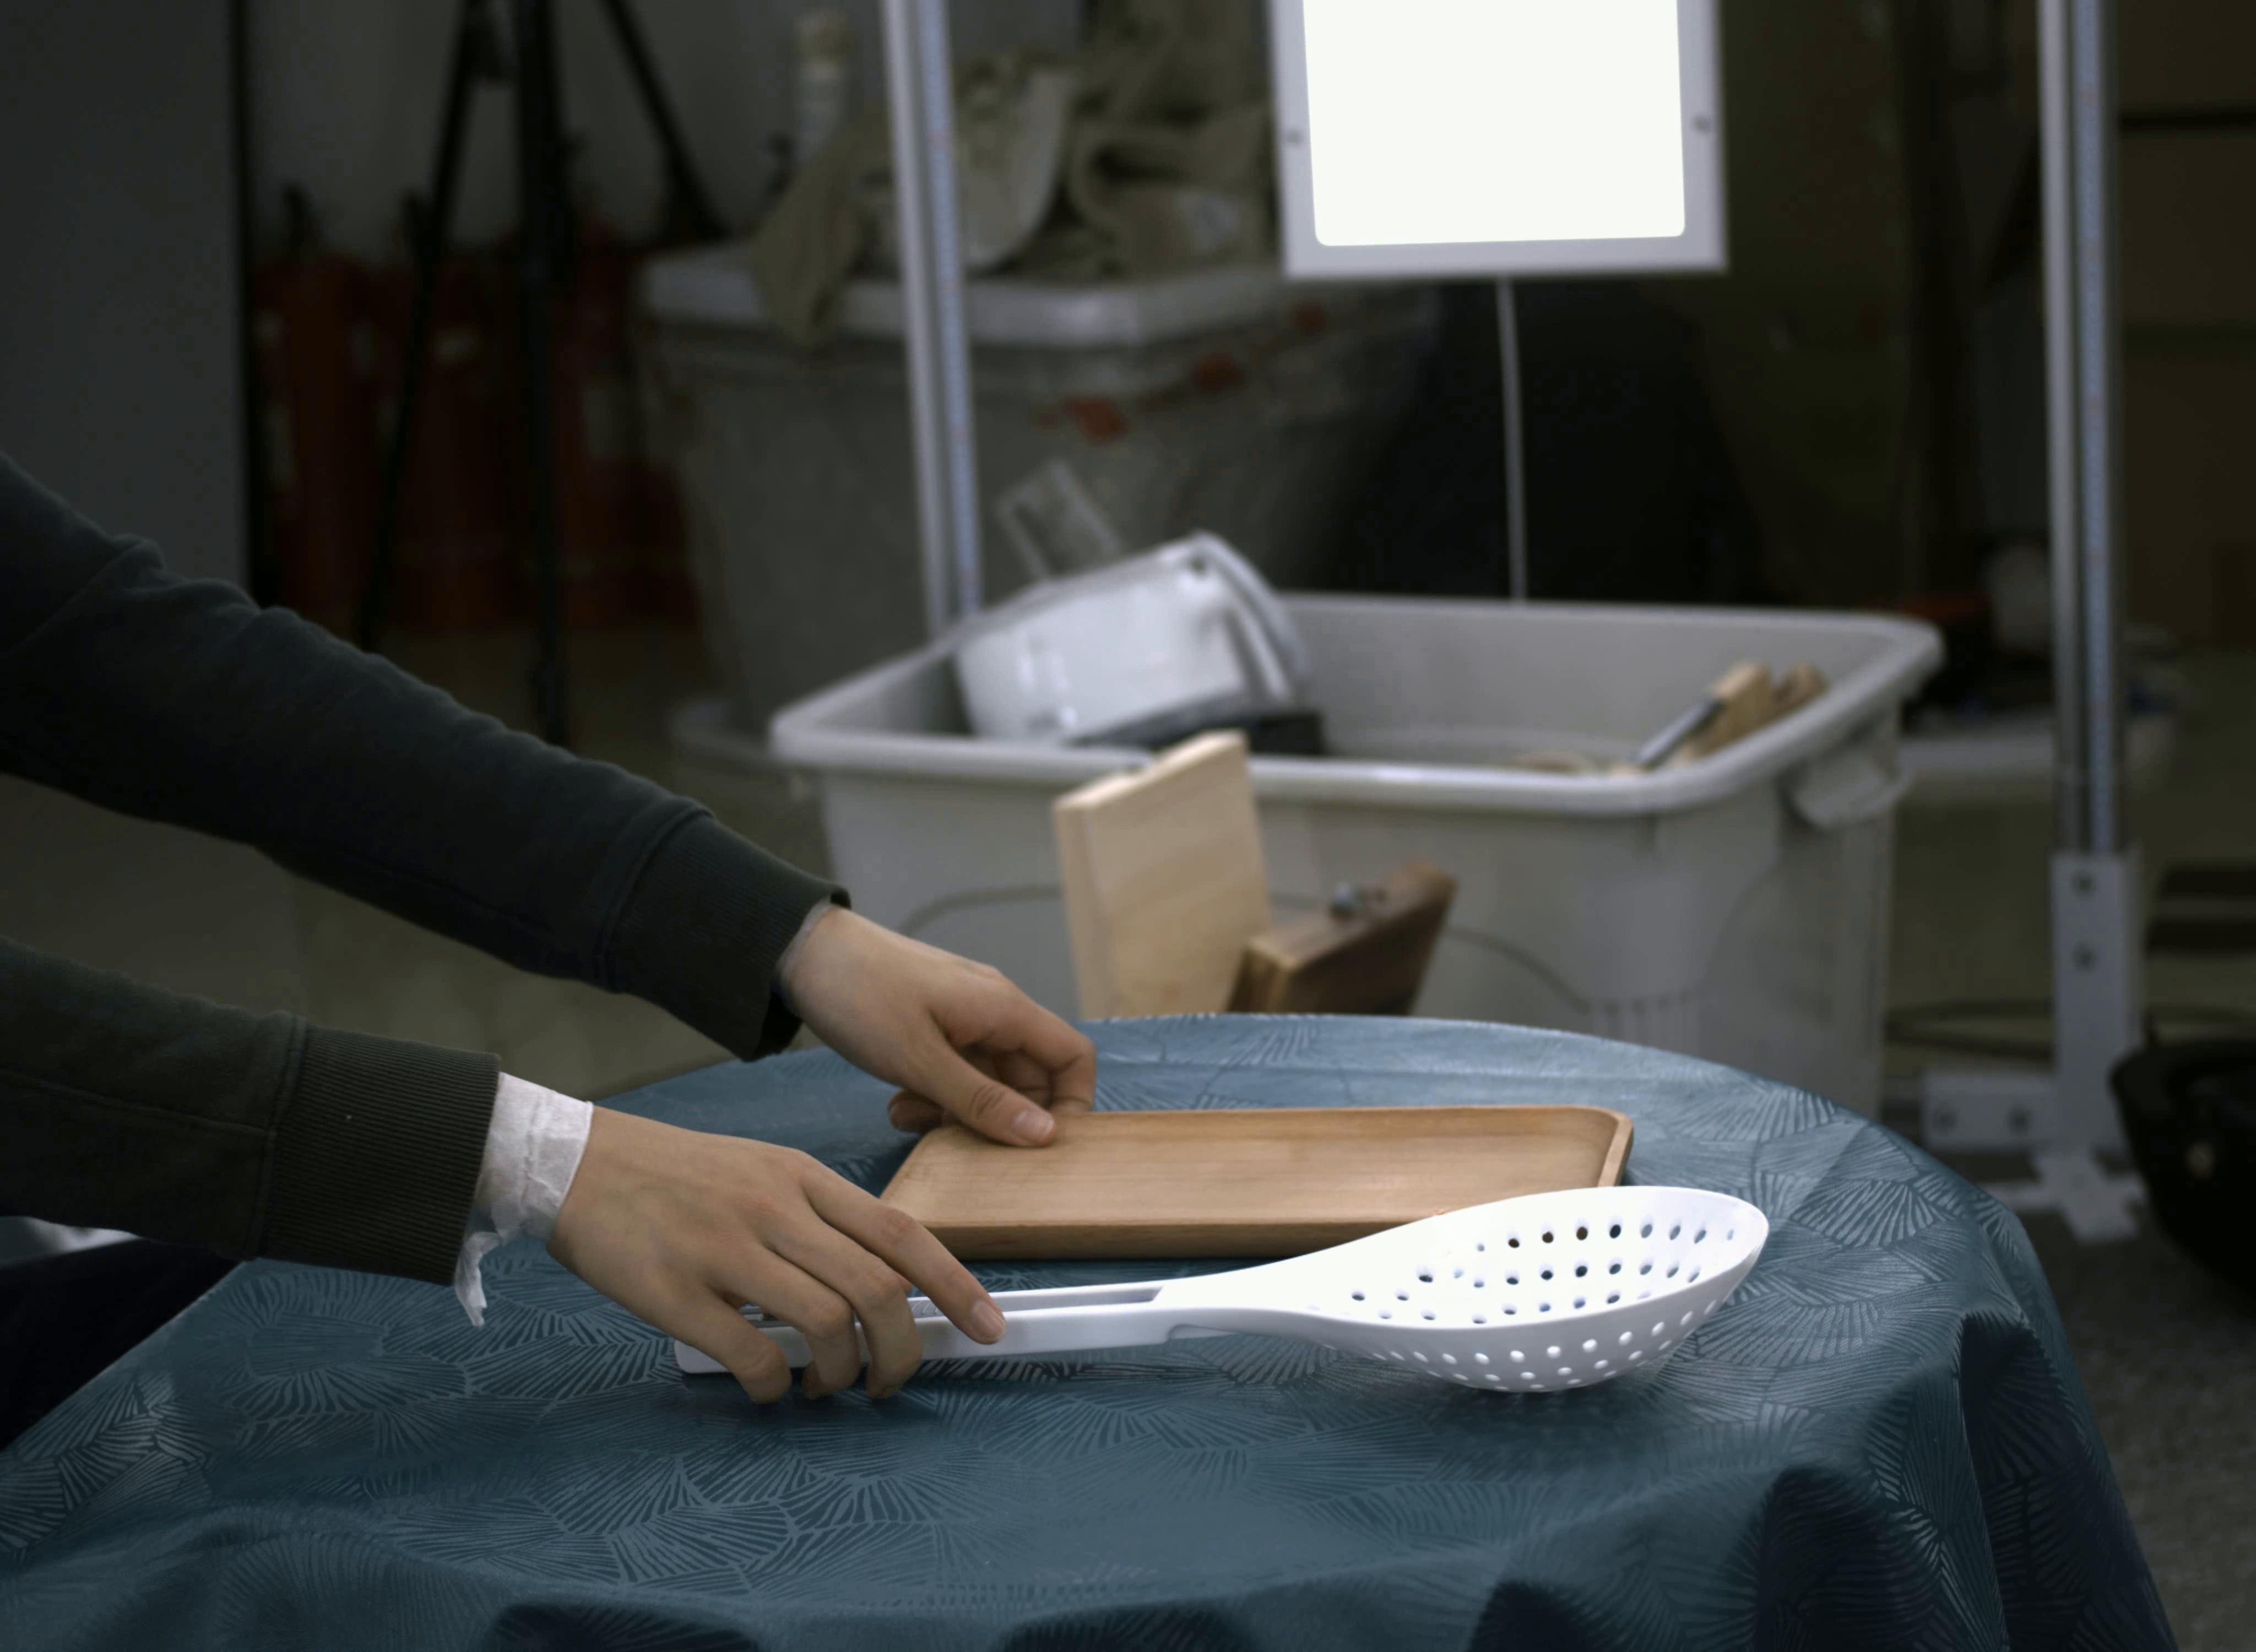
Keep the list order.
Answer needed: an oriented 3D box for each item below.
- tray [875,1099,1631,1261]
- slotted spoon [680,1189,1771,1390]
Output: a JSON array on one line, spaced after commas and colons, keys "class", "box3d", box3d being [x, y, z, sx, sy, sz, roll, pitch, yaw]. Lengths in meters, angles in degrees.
[{"class": "tray", "box3d": [0.044, 0.121, 1.871, 0.253, 0.023, 0.129, -2, 12, 14]}, {"class": "slotted spoon", "box3d": [0.026, 0.148, 1.705, 0.353, 0.046, 0.134, -1, 12, 17]}]
